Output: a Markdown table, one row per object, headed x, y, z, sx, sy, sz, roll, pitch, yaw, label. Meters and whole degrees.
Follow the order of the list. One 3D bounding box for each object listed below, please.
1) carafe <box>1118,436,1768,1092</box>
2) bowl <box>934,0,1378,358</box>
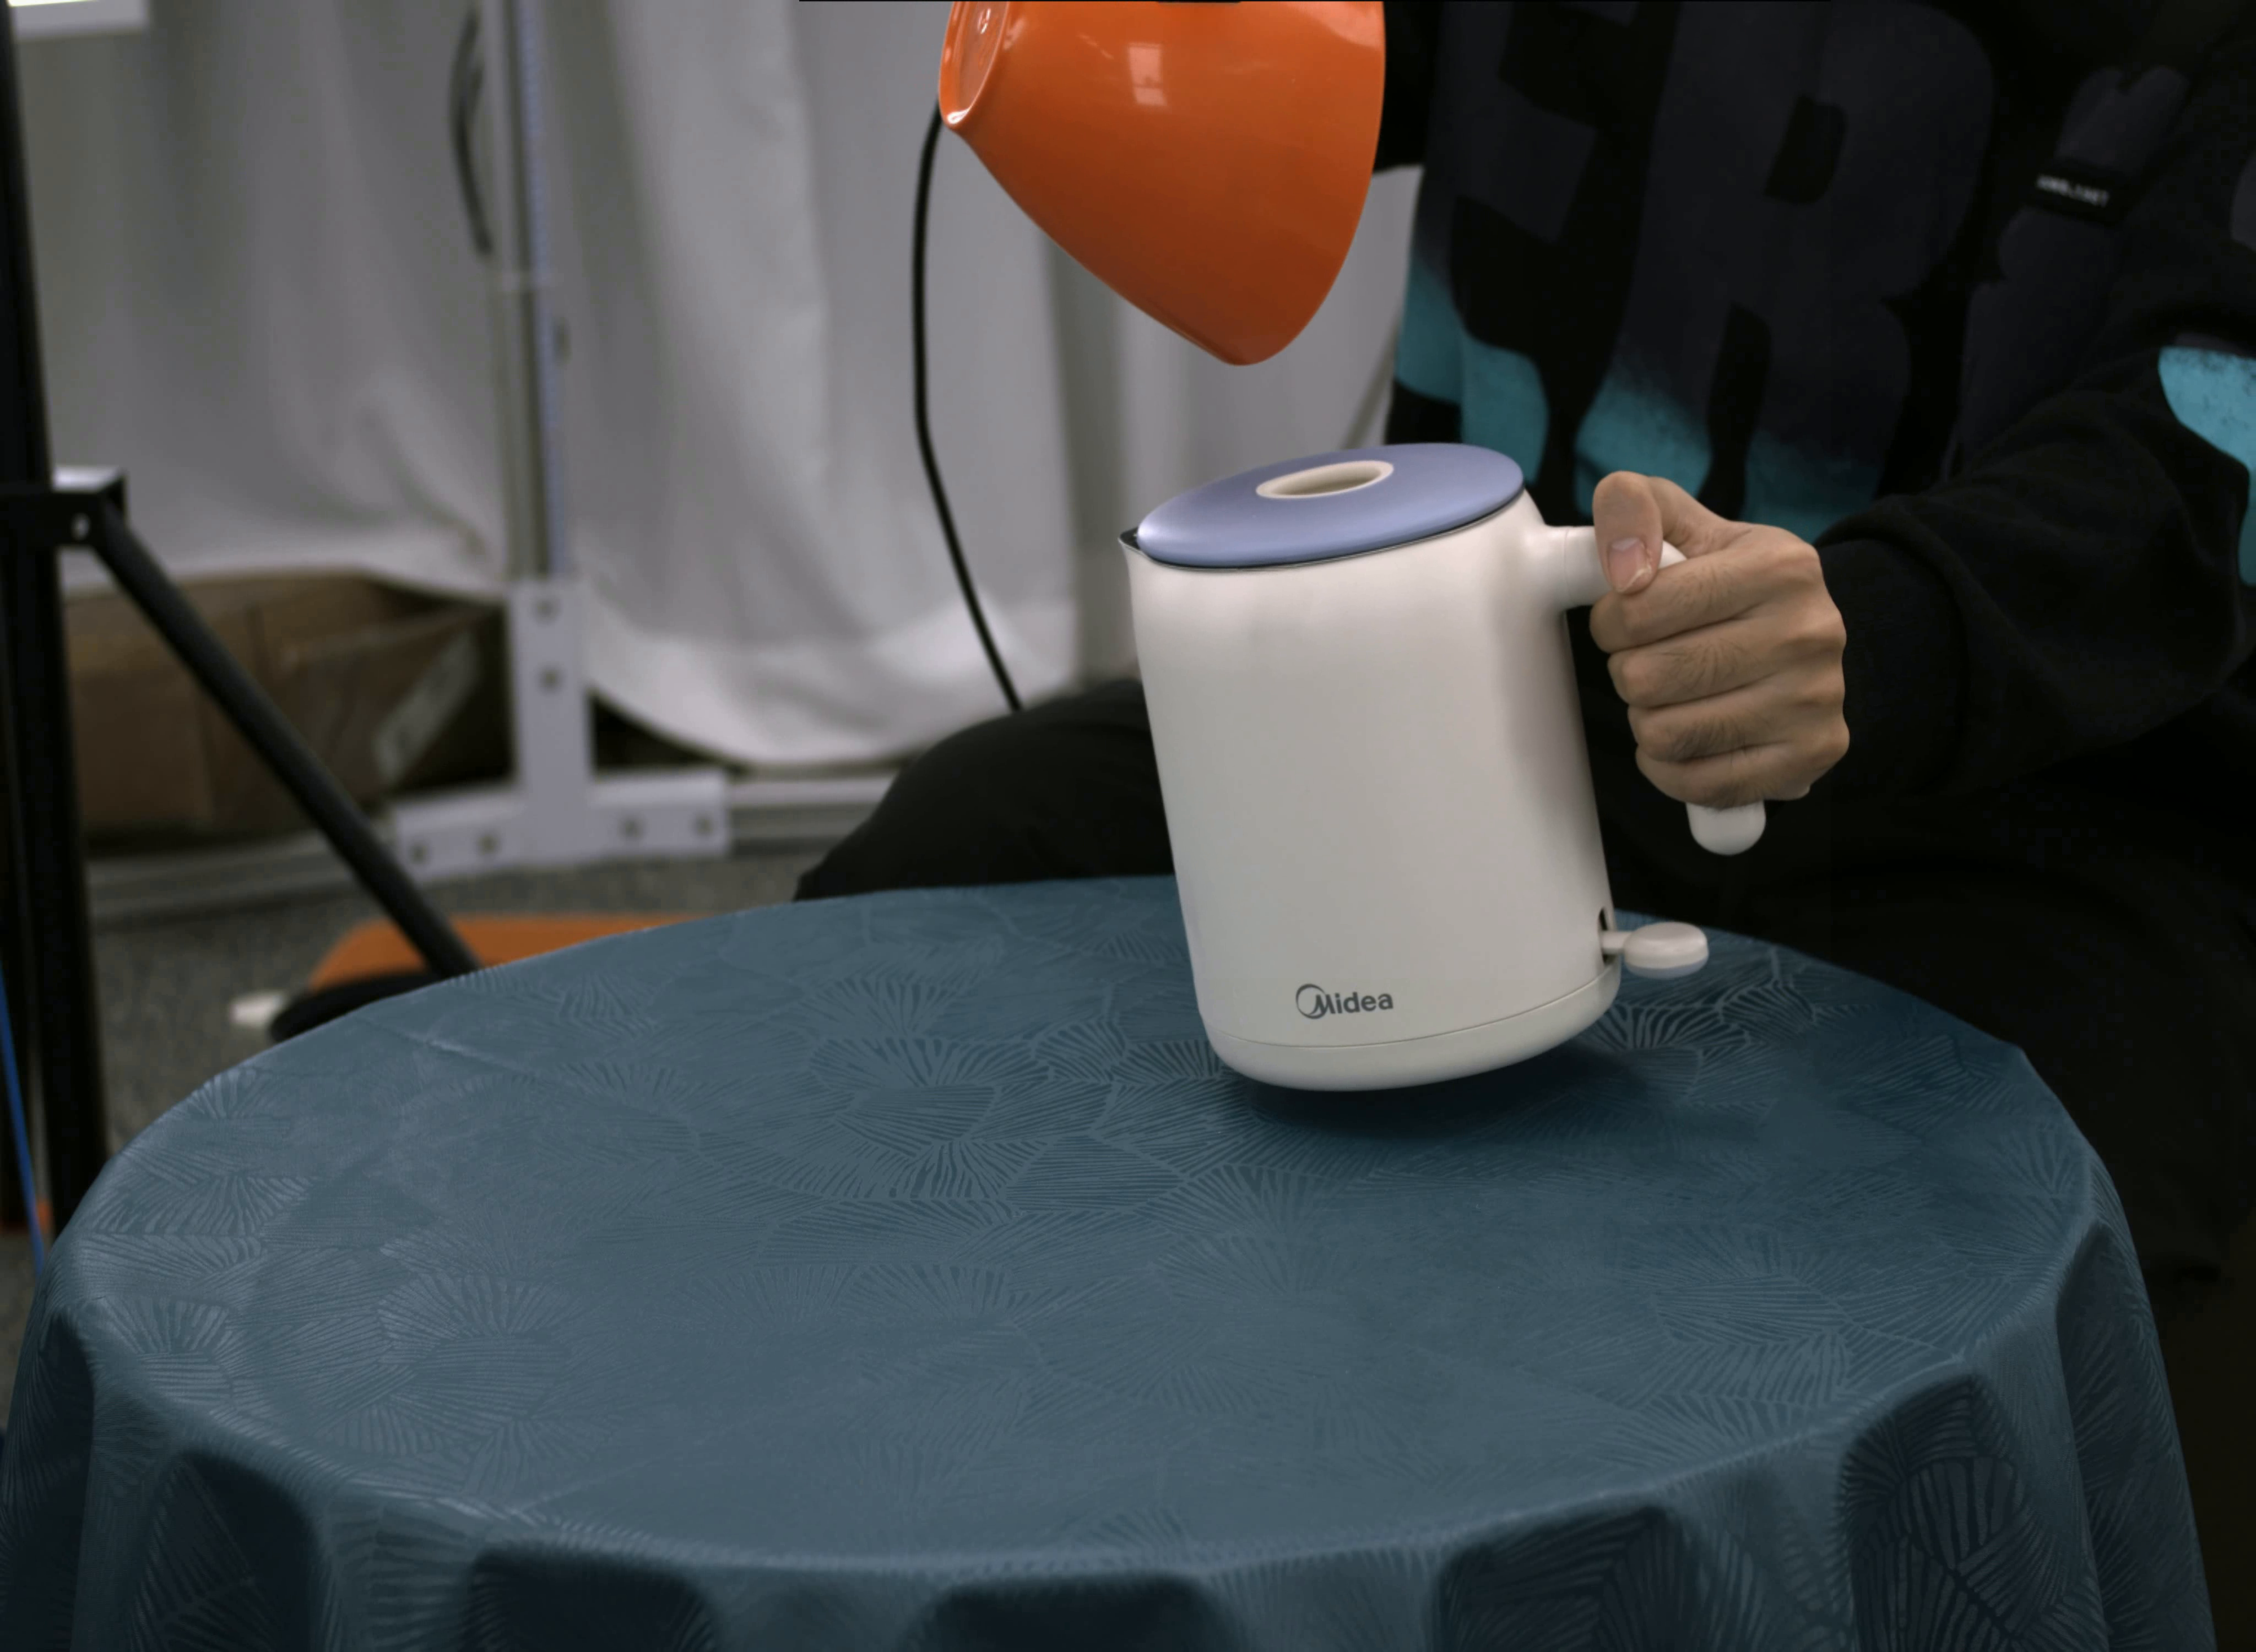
| x | y | z | sx | sy | sz | roll | pitch | yaw | label |
| --- | --- | --- | --- | --- | --- | --- | --- | --- | --- |
| 0.098 | -0.020 | 1.613 | 0.193 | 0.182 | 0.131 | -2 | 17 | 20 | carafe |
| 0.003 | -0.221 | 1.568 | 0.103 | 0.148 | 0.150 | 13 | 12 | -16 | bowl |
